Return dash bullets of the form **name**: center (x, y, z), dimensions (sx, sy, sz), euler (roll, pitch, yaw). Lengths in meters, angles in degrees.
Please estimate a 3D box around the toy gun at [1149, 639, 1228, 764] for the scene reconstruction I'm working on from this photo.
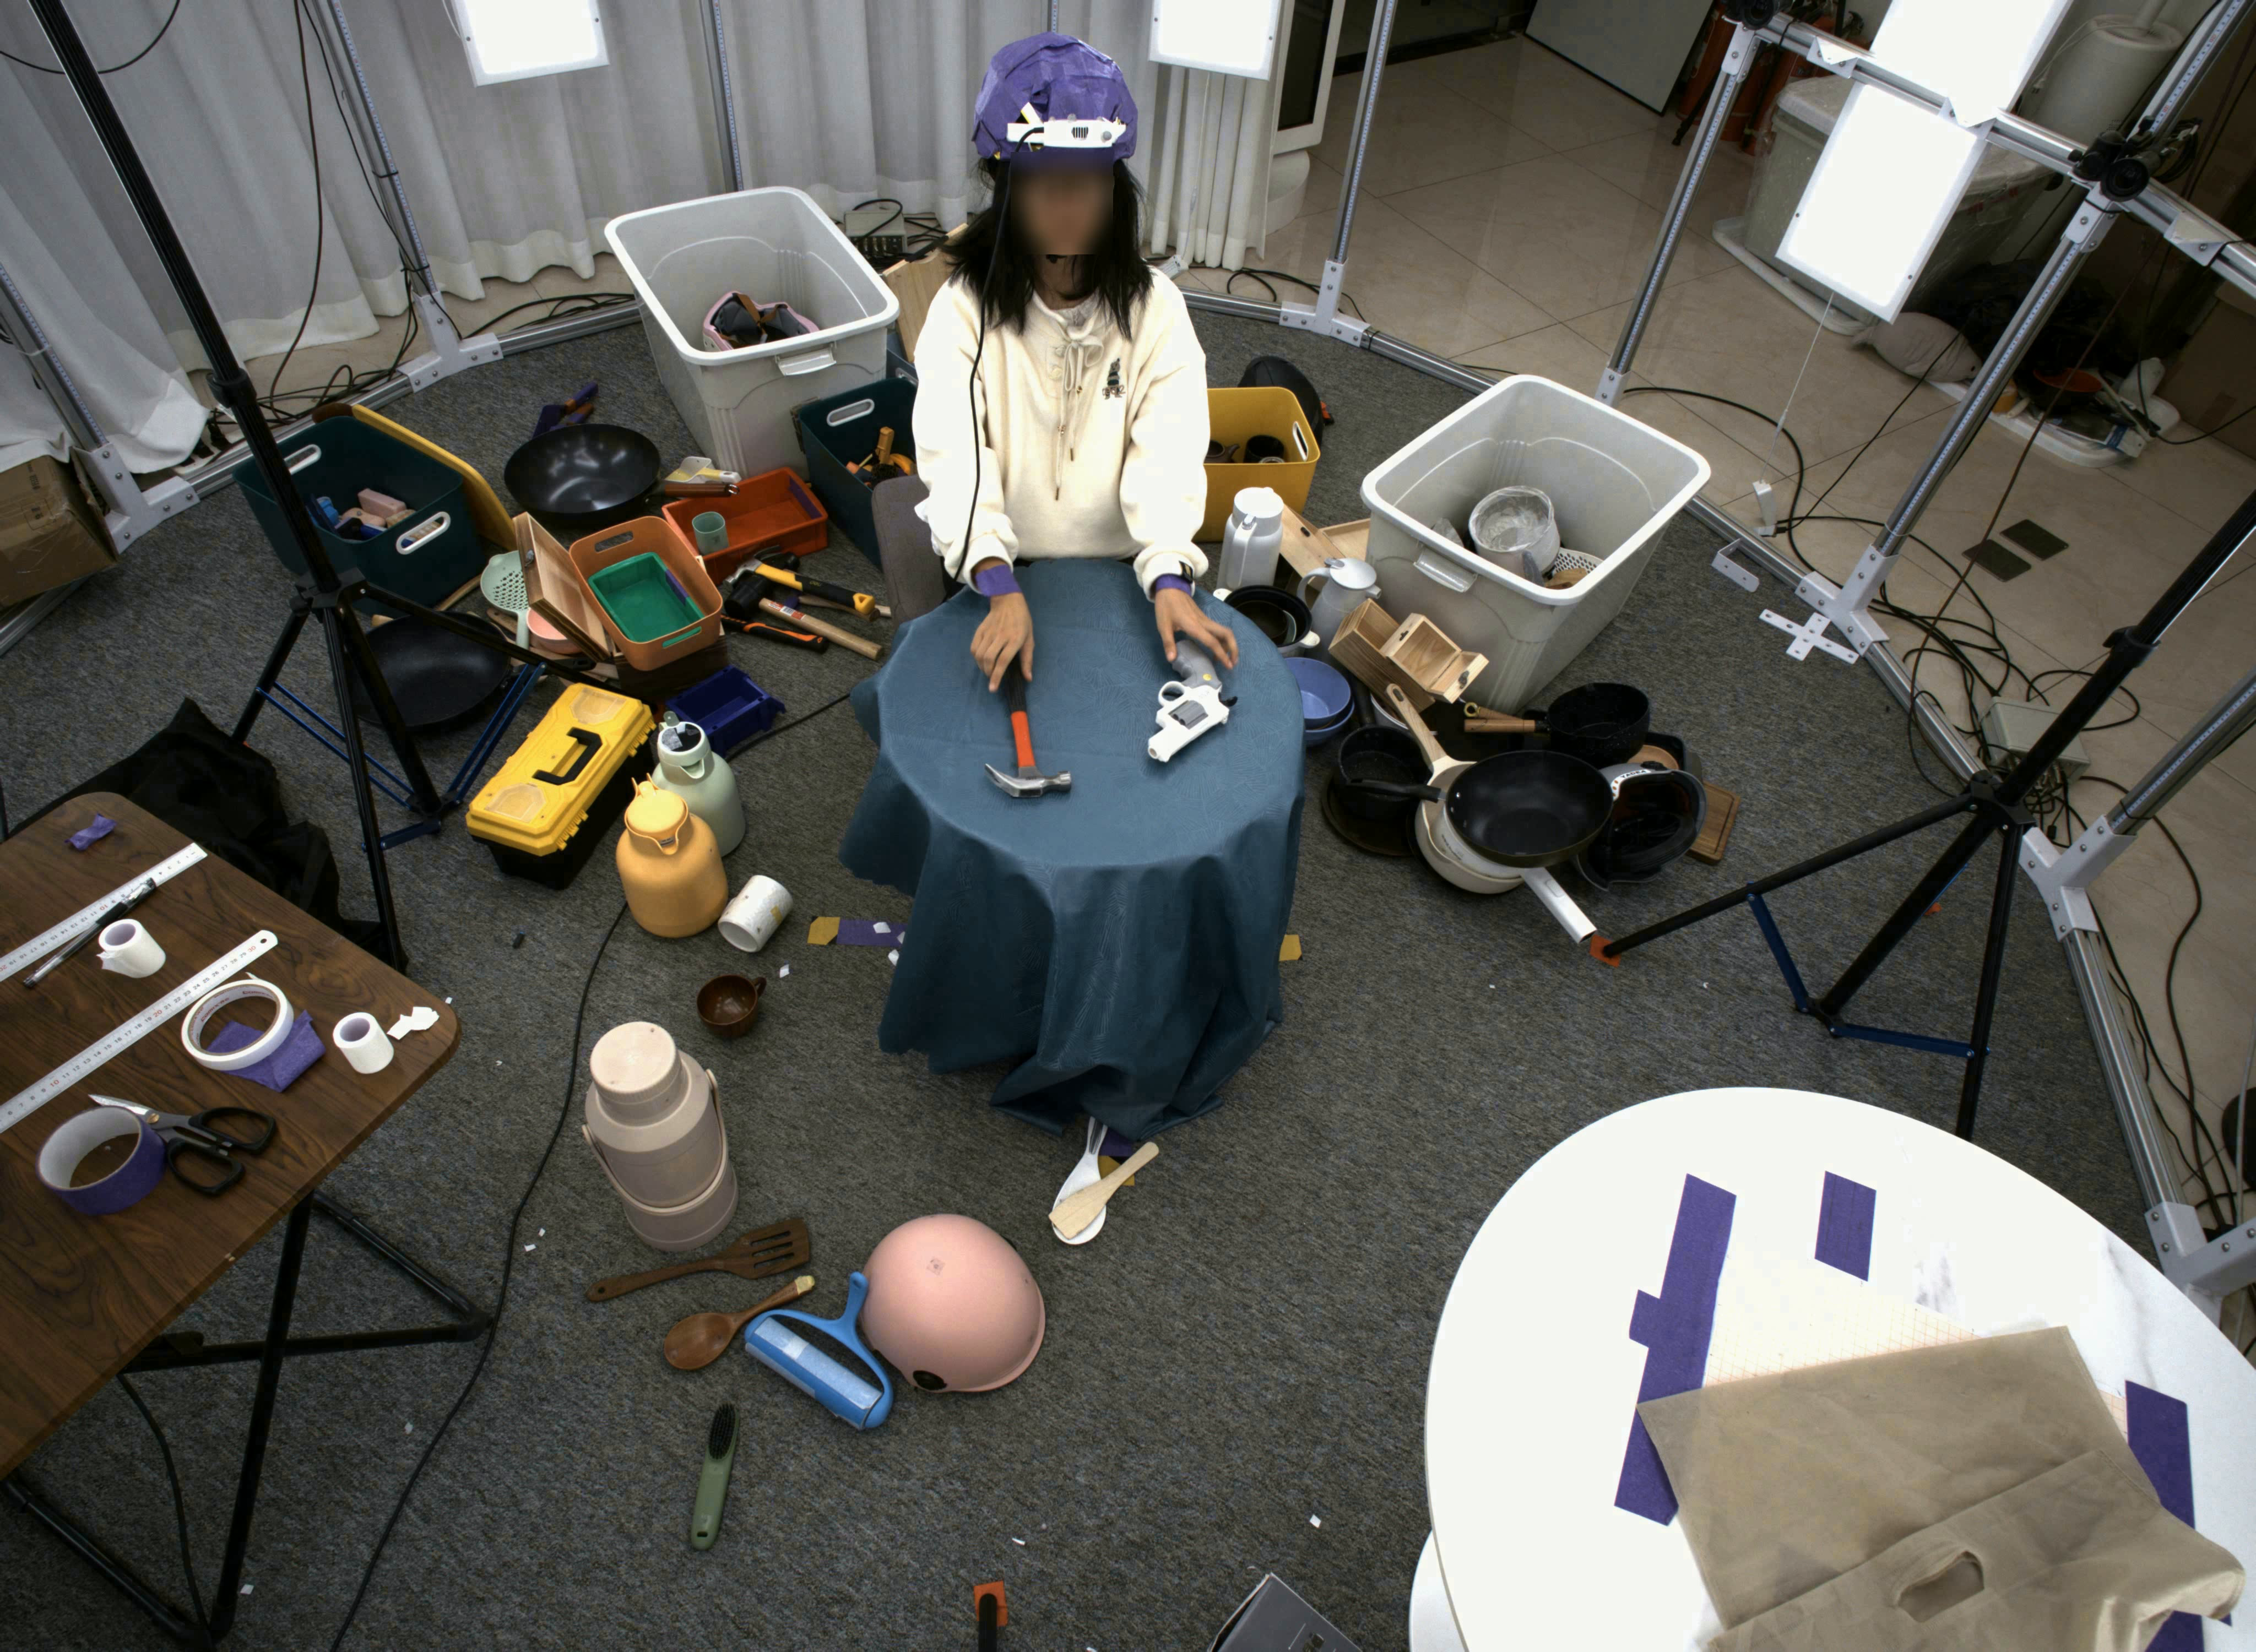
- **toy gun**: center (0.069, -0.178, 1.802), dimensions (0.143, 0.038, 0.211), euler (36, 55, 22)

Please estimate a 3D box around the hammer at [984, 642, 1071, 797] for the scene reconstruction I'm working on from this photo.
- **hammer**: center (-0.152, -0.152, 1.771), dimensions (0.110, 0.026, 0.284), euler (-10, 51, -1)
